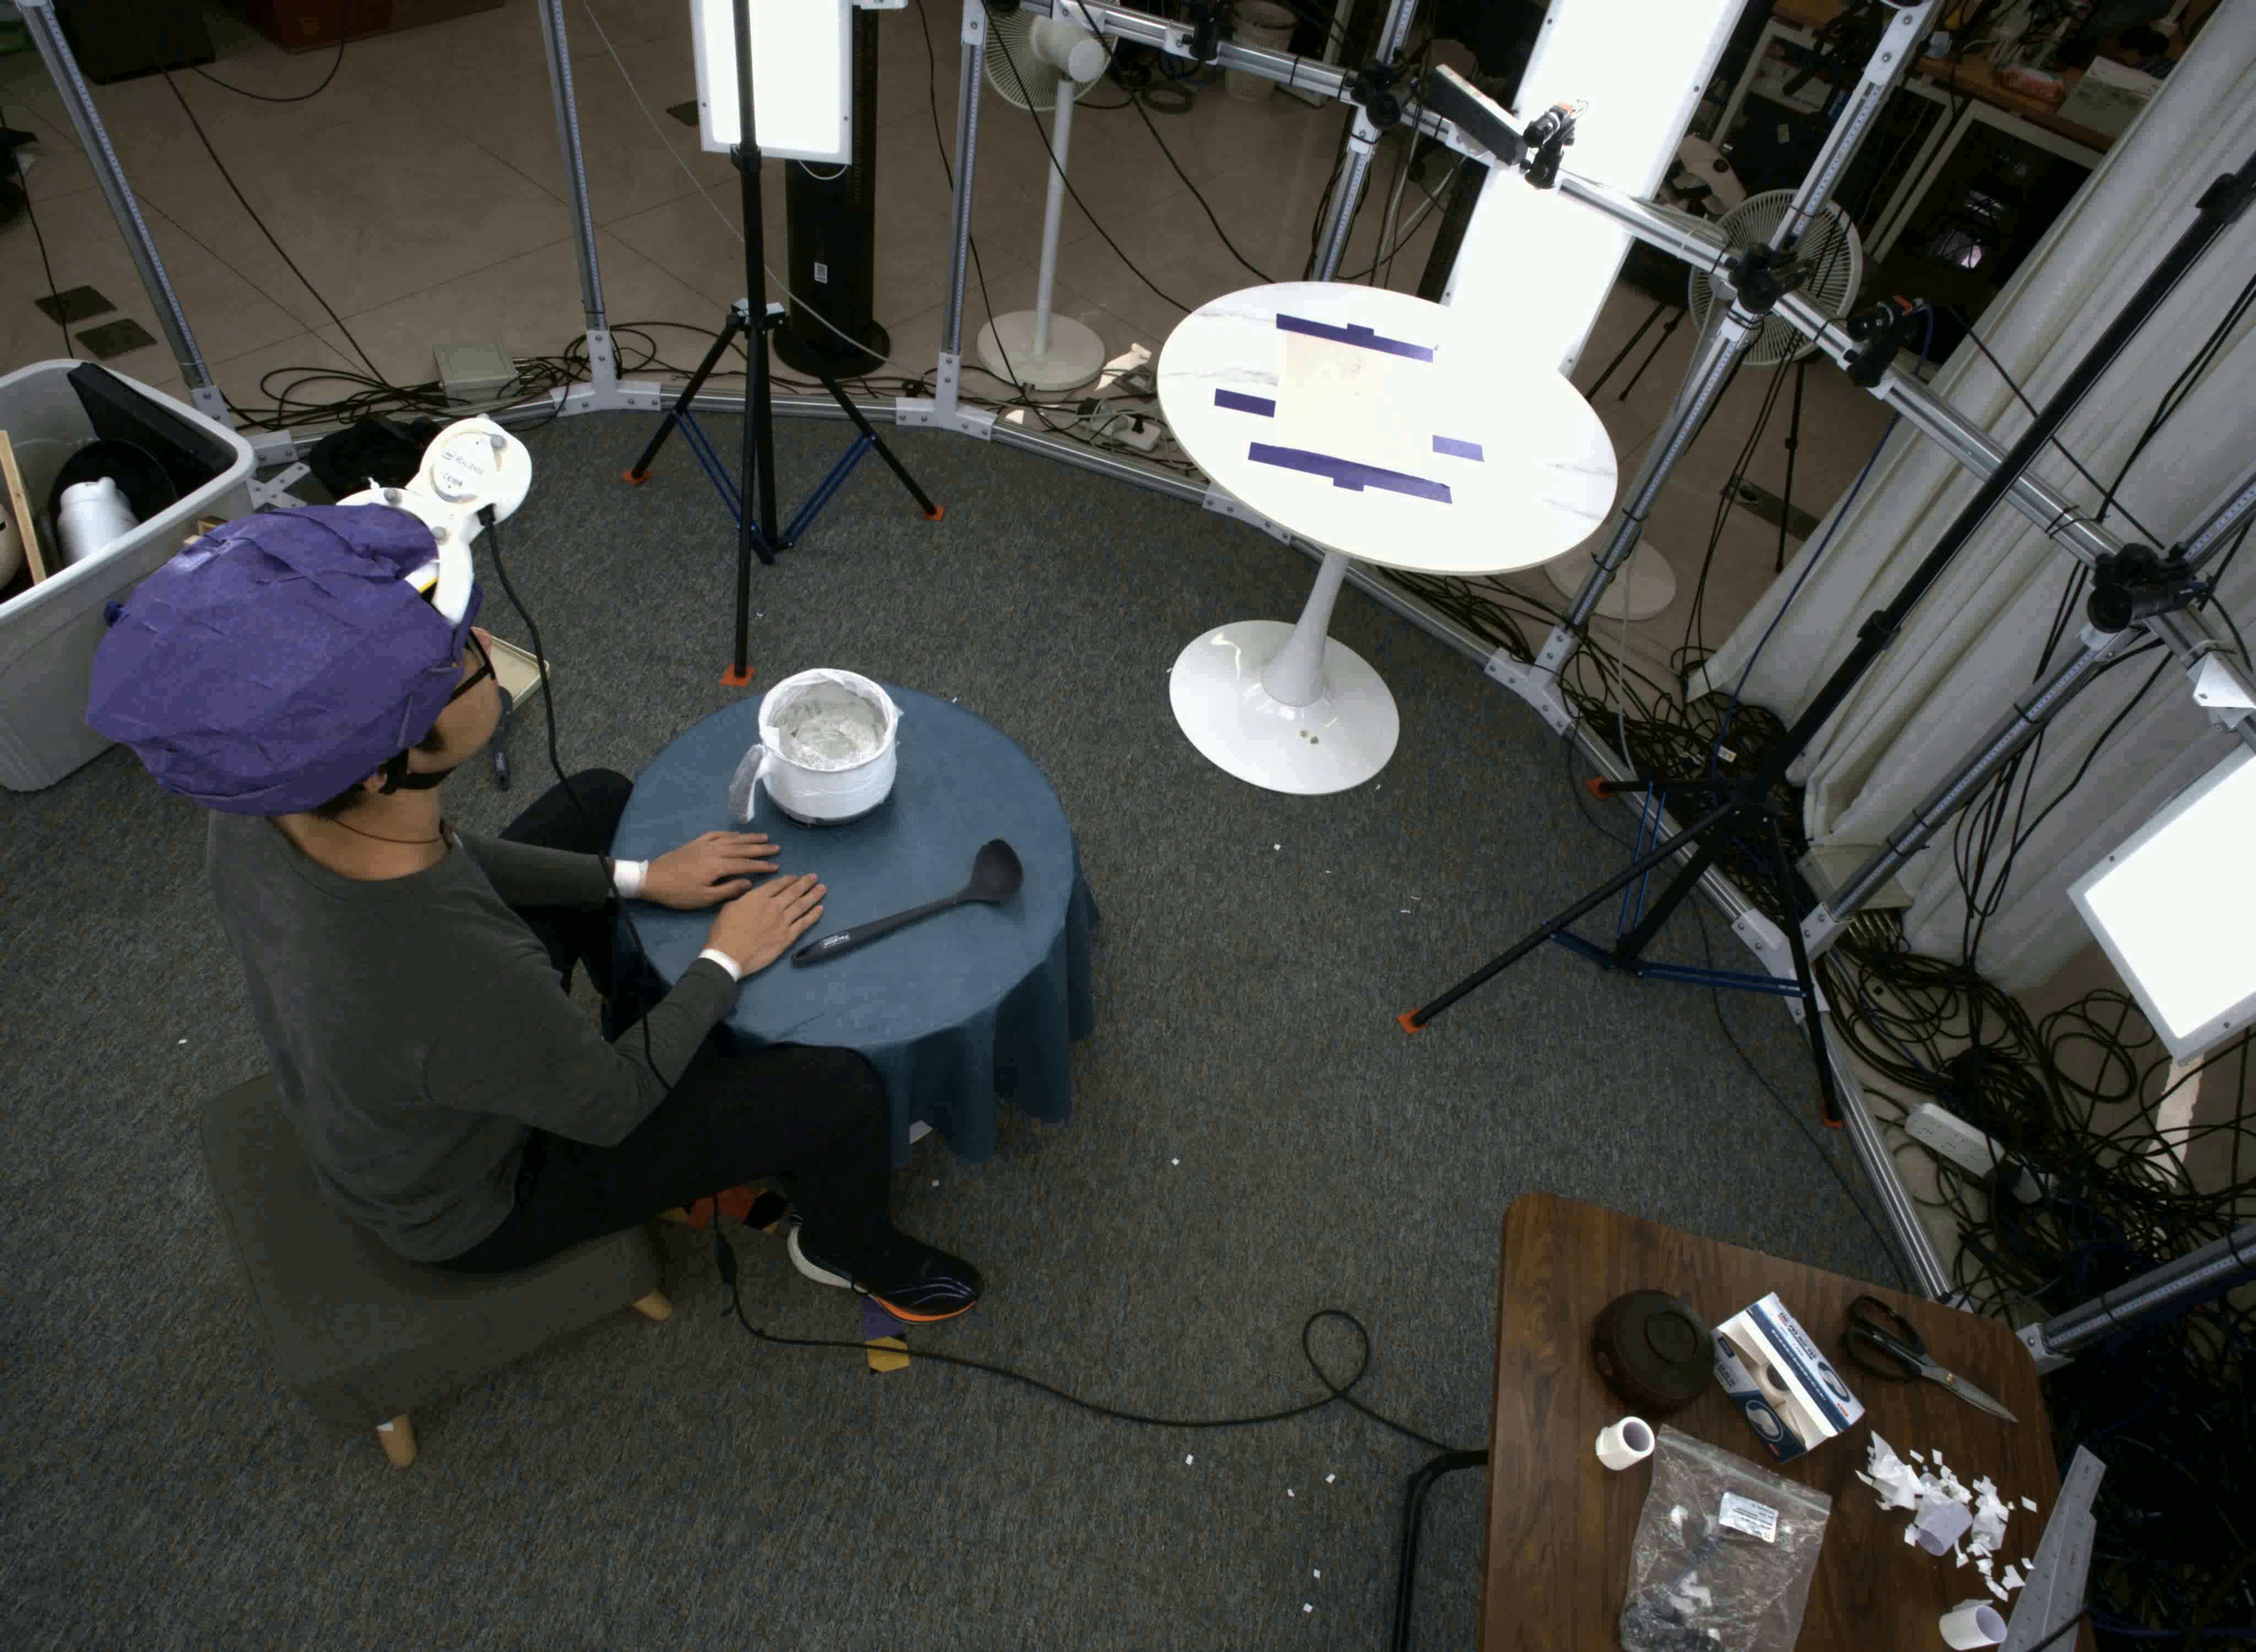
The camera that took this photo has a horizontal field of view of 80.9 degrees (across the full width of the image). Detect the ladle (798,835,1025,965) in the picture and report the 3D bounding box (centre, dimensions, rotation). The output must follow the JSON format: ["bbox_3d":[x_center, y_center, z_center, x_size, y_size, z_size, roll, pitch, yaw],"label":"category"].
[{"bbox_3d":[-0.275,0.099,1.659,0.315,0.065,0.083,-21,56,-27],"label":"ladle"}]

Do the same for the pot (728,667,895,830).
[{"bbox_3d":[-0.421,-0.089,1.713,0.234,0.139,0.174,-31,65,-31],"label":"pot"}]
